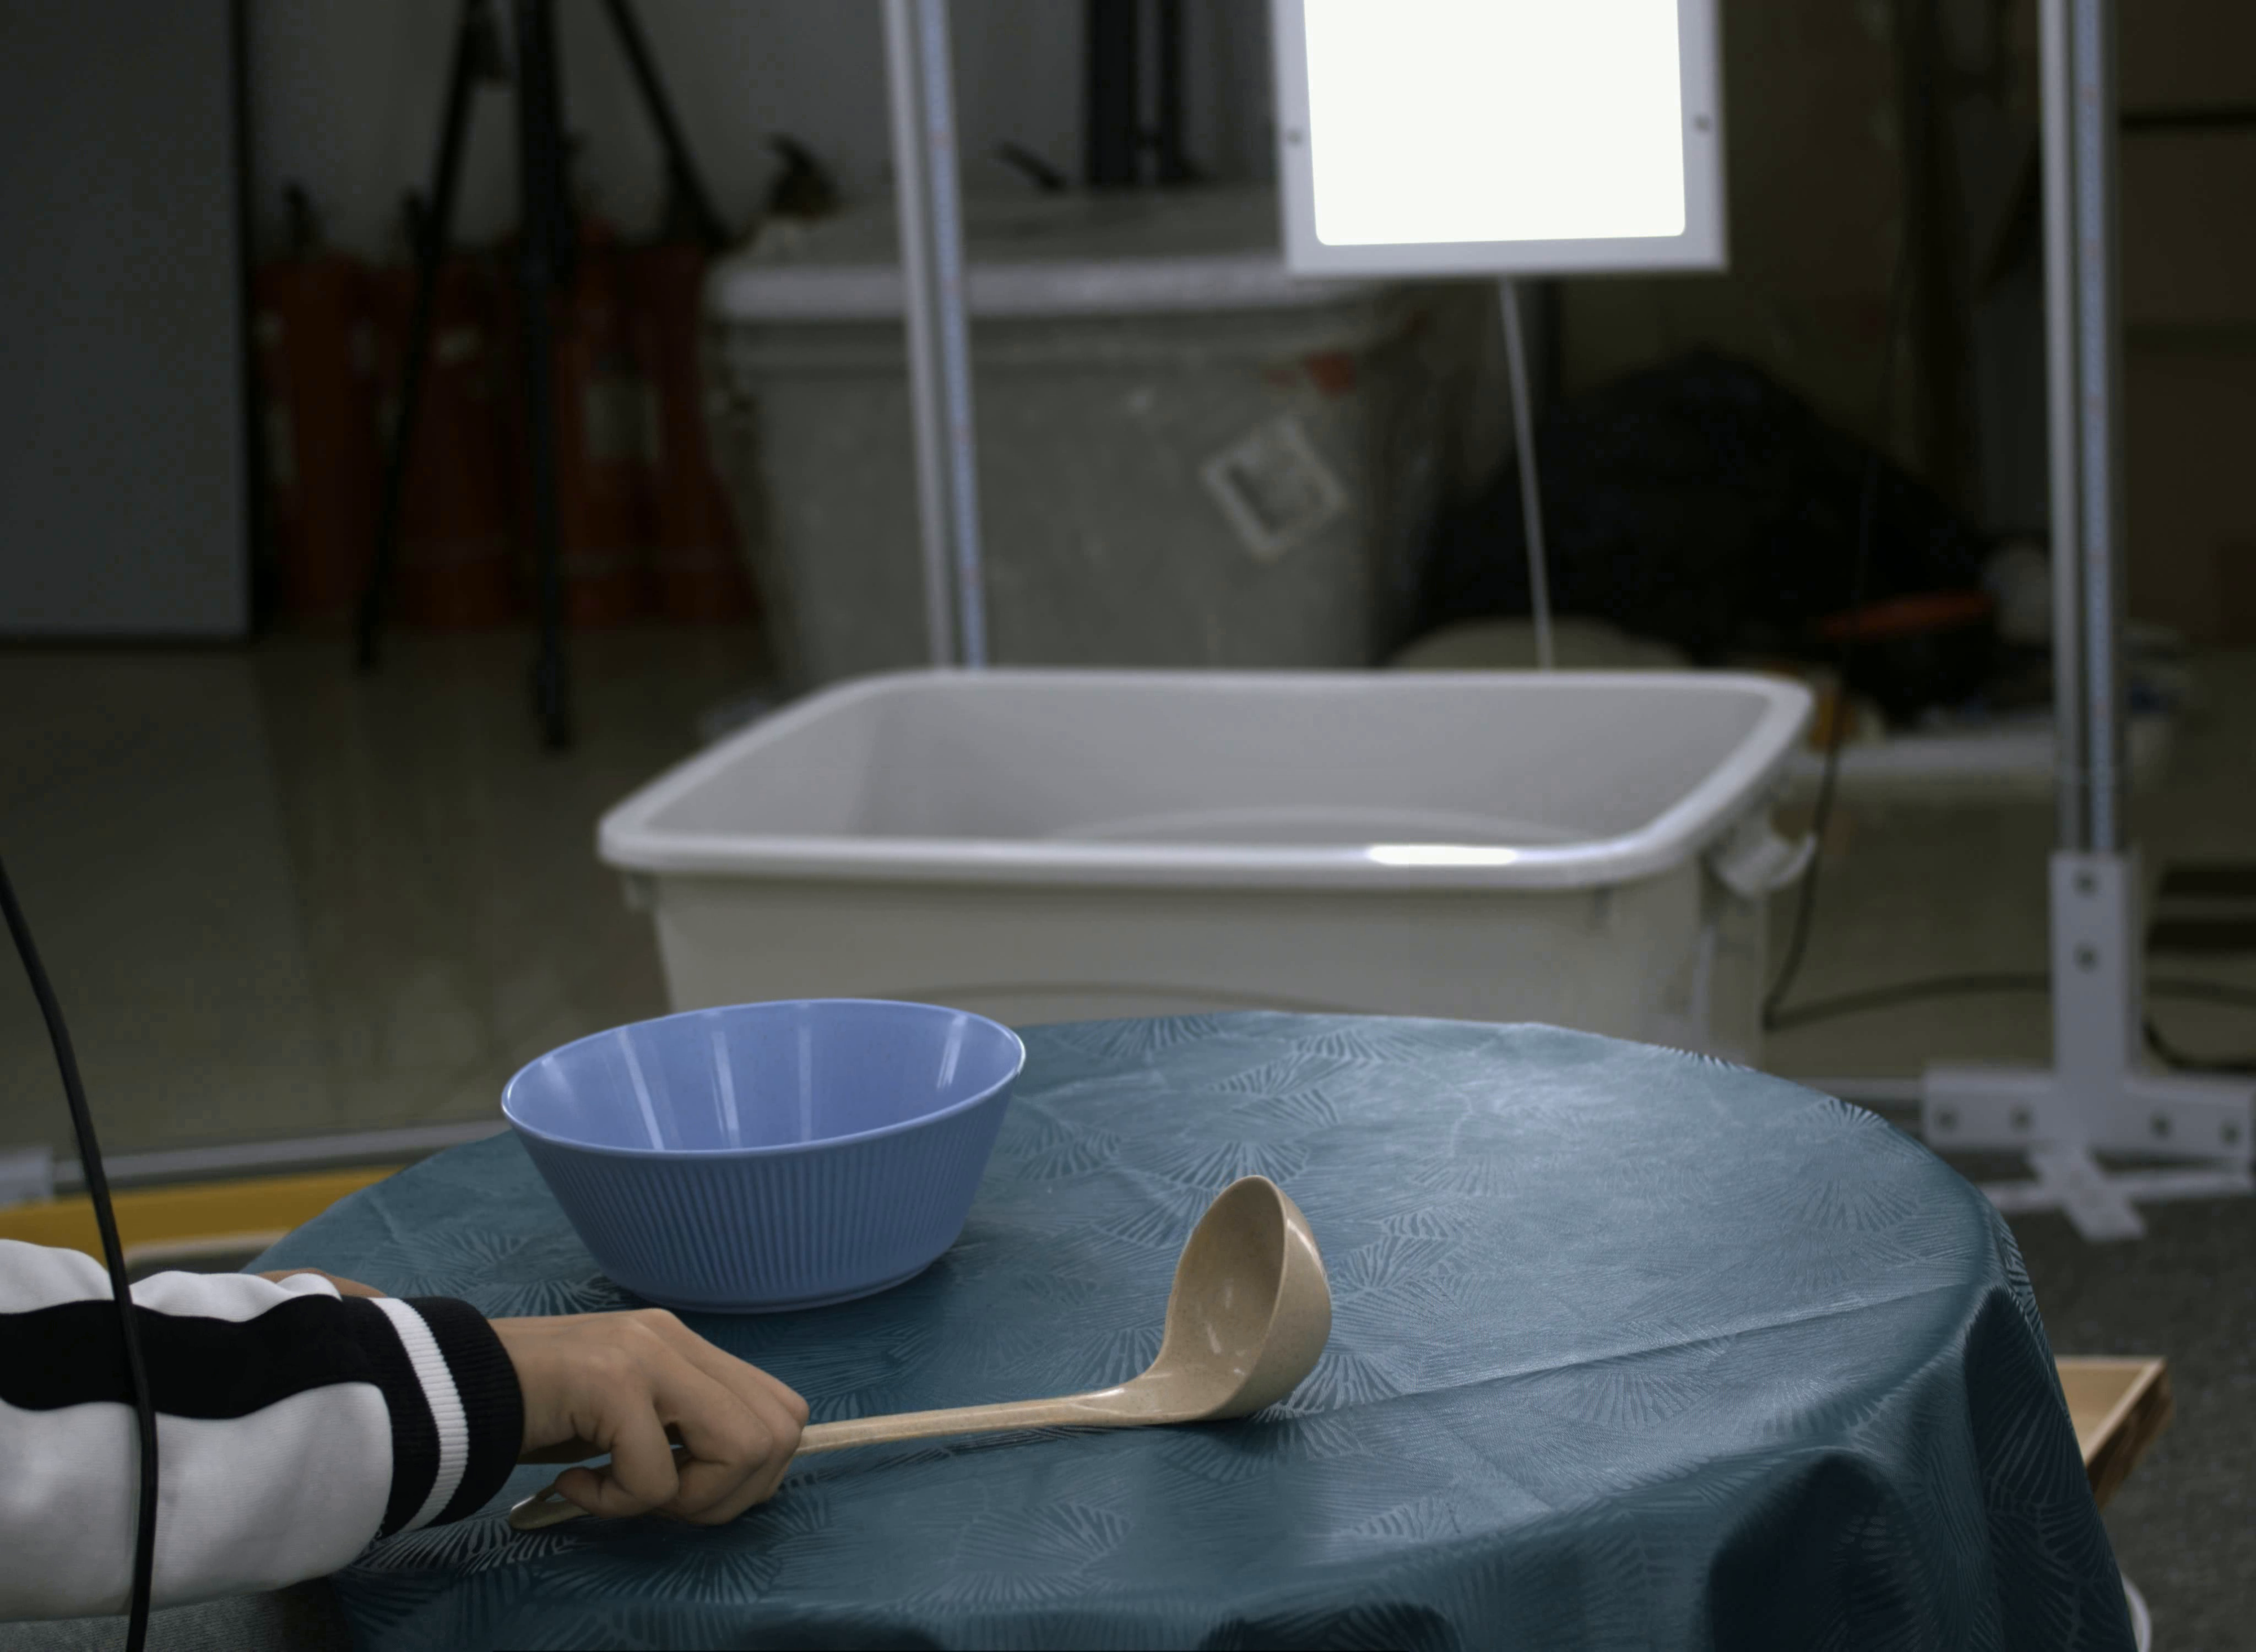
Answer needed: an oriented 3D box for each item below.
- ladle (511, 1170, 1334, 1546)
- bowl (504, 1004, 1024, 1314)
[{"bbox_3d":[-0.062,0.157,1.644,0.251,0.073,0.073,-9,25,-14],"label":"ladle"},{"bbox_3d":[-0.119,0.114,1.846,0.175,0.070,0.176,-5,13,0],"label":"bowl"}]
